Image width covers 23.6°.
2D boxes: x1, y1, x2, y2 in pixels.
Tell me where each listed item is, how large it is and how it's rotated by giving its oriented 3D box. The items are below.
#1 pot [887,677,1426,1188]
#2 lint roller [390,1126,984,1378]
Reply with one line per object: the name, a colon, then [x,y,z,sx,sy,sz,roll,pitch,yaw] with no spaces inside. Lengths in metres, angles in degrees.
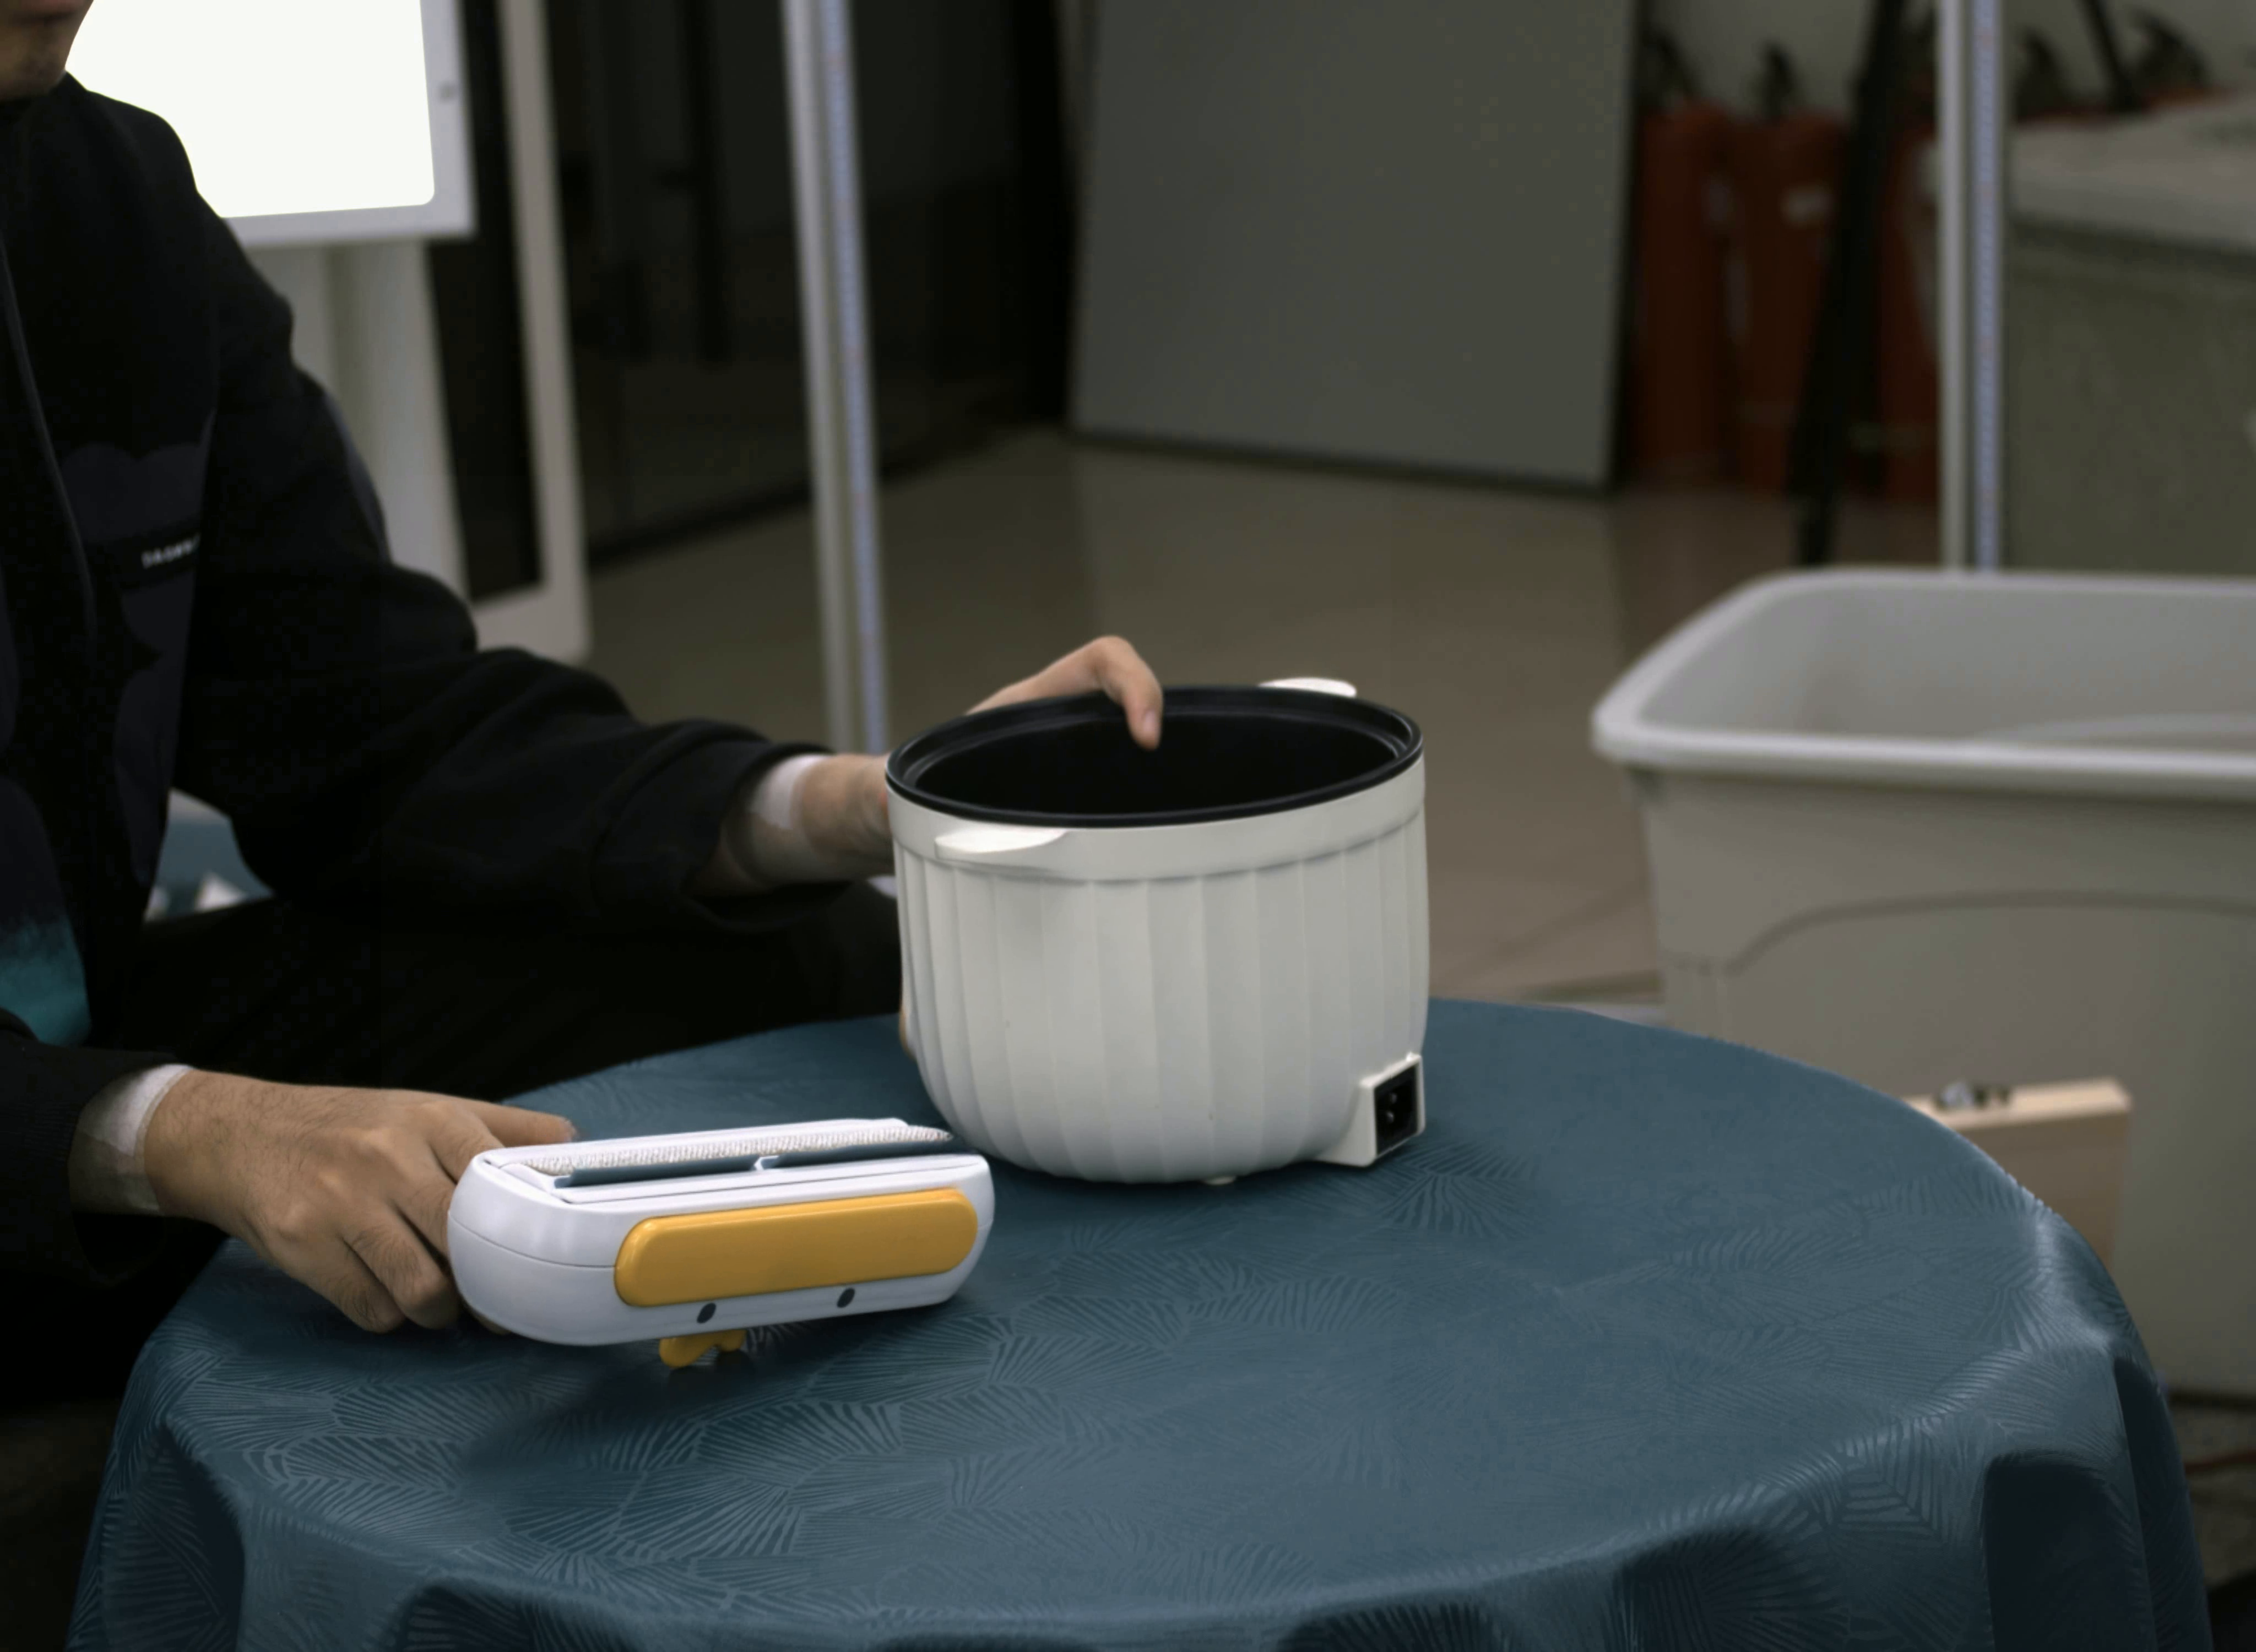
pot: [0.007,0.038,1.814,0.191,0.144,0.236,7,16,30]
lint roller: [-0.164,0.123,1.672,0.188,0.075,0.194,-7,11,-41]
